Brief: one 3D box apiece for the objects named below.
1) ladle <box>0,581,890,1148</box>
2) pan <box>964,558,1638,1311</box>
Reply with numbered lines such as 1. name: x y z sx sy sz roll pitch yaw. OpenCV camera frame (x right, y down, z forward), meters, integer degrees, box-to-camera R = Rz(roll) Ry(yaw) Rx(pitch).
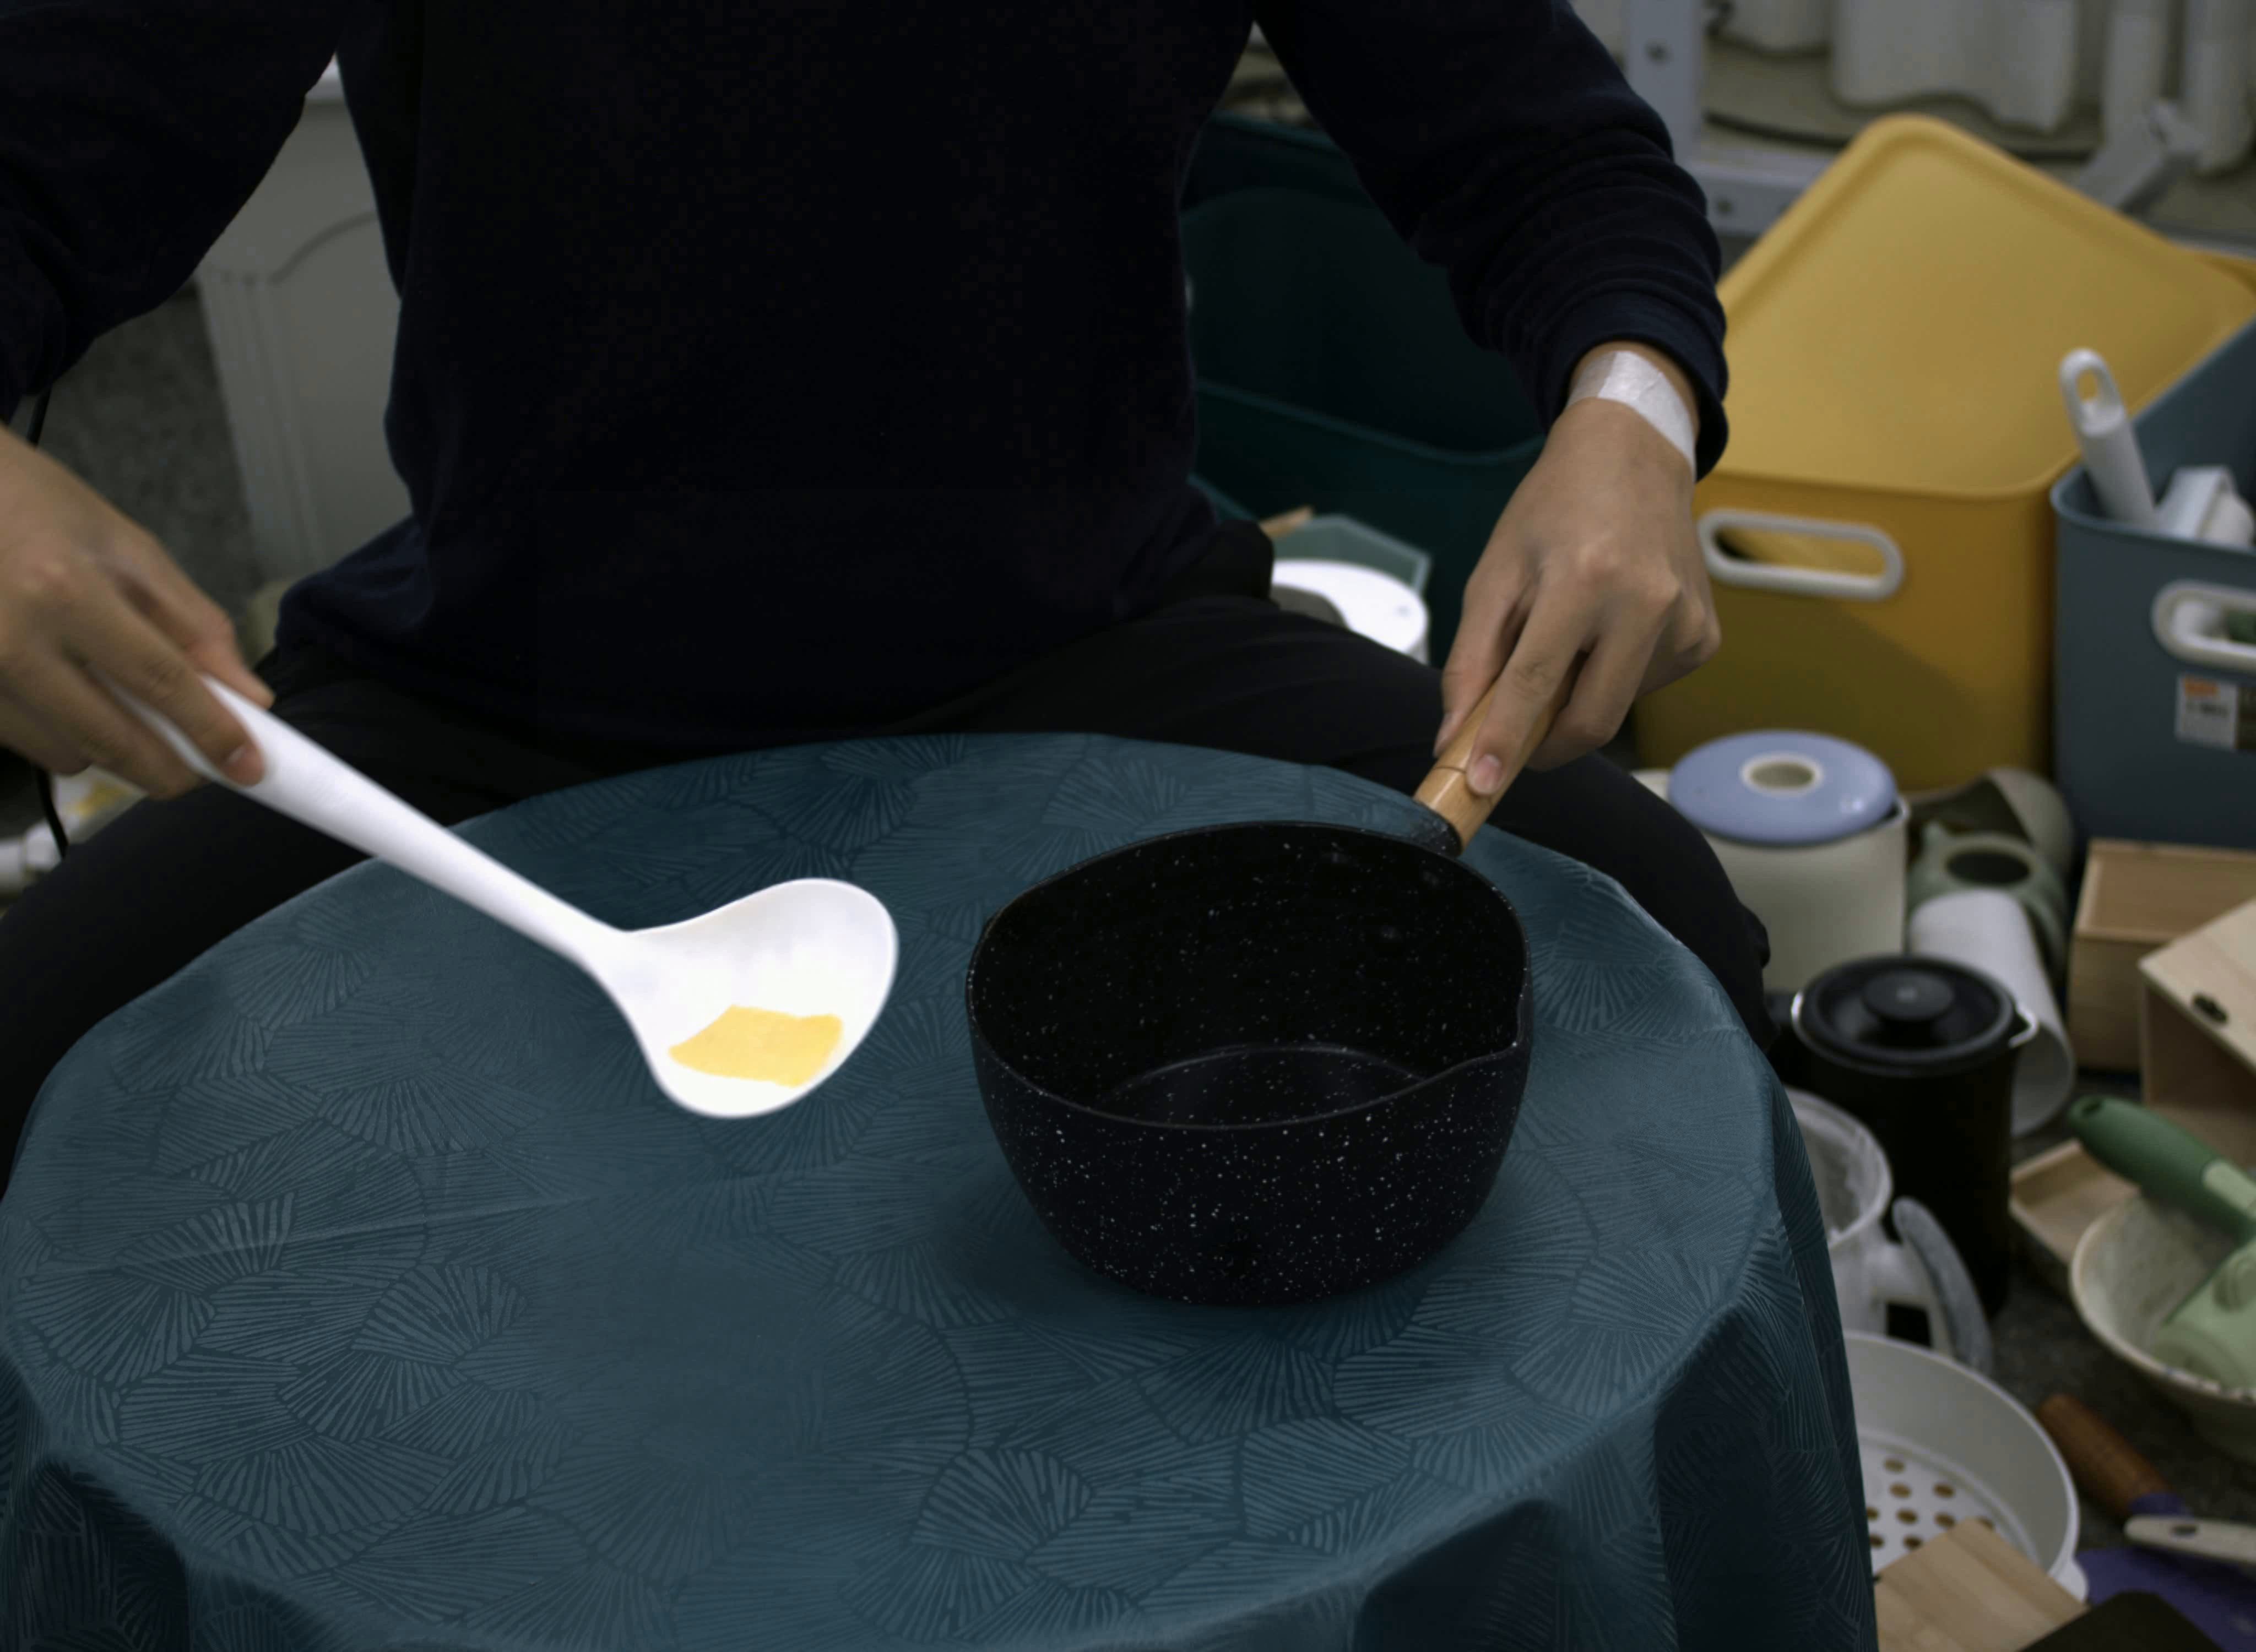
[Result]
1. ladle: -0.212 0.005 1.724 0.292 0.069 0.091 30 69 -3
2. pan: 0.082 0.033 1.890 0.206 0.107 0.349 12 36 29
